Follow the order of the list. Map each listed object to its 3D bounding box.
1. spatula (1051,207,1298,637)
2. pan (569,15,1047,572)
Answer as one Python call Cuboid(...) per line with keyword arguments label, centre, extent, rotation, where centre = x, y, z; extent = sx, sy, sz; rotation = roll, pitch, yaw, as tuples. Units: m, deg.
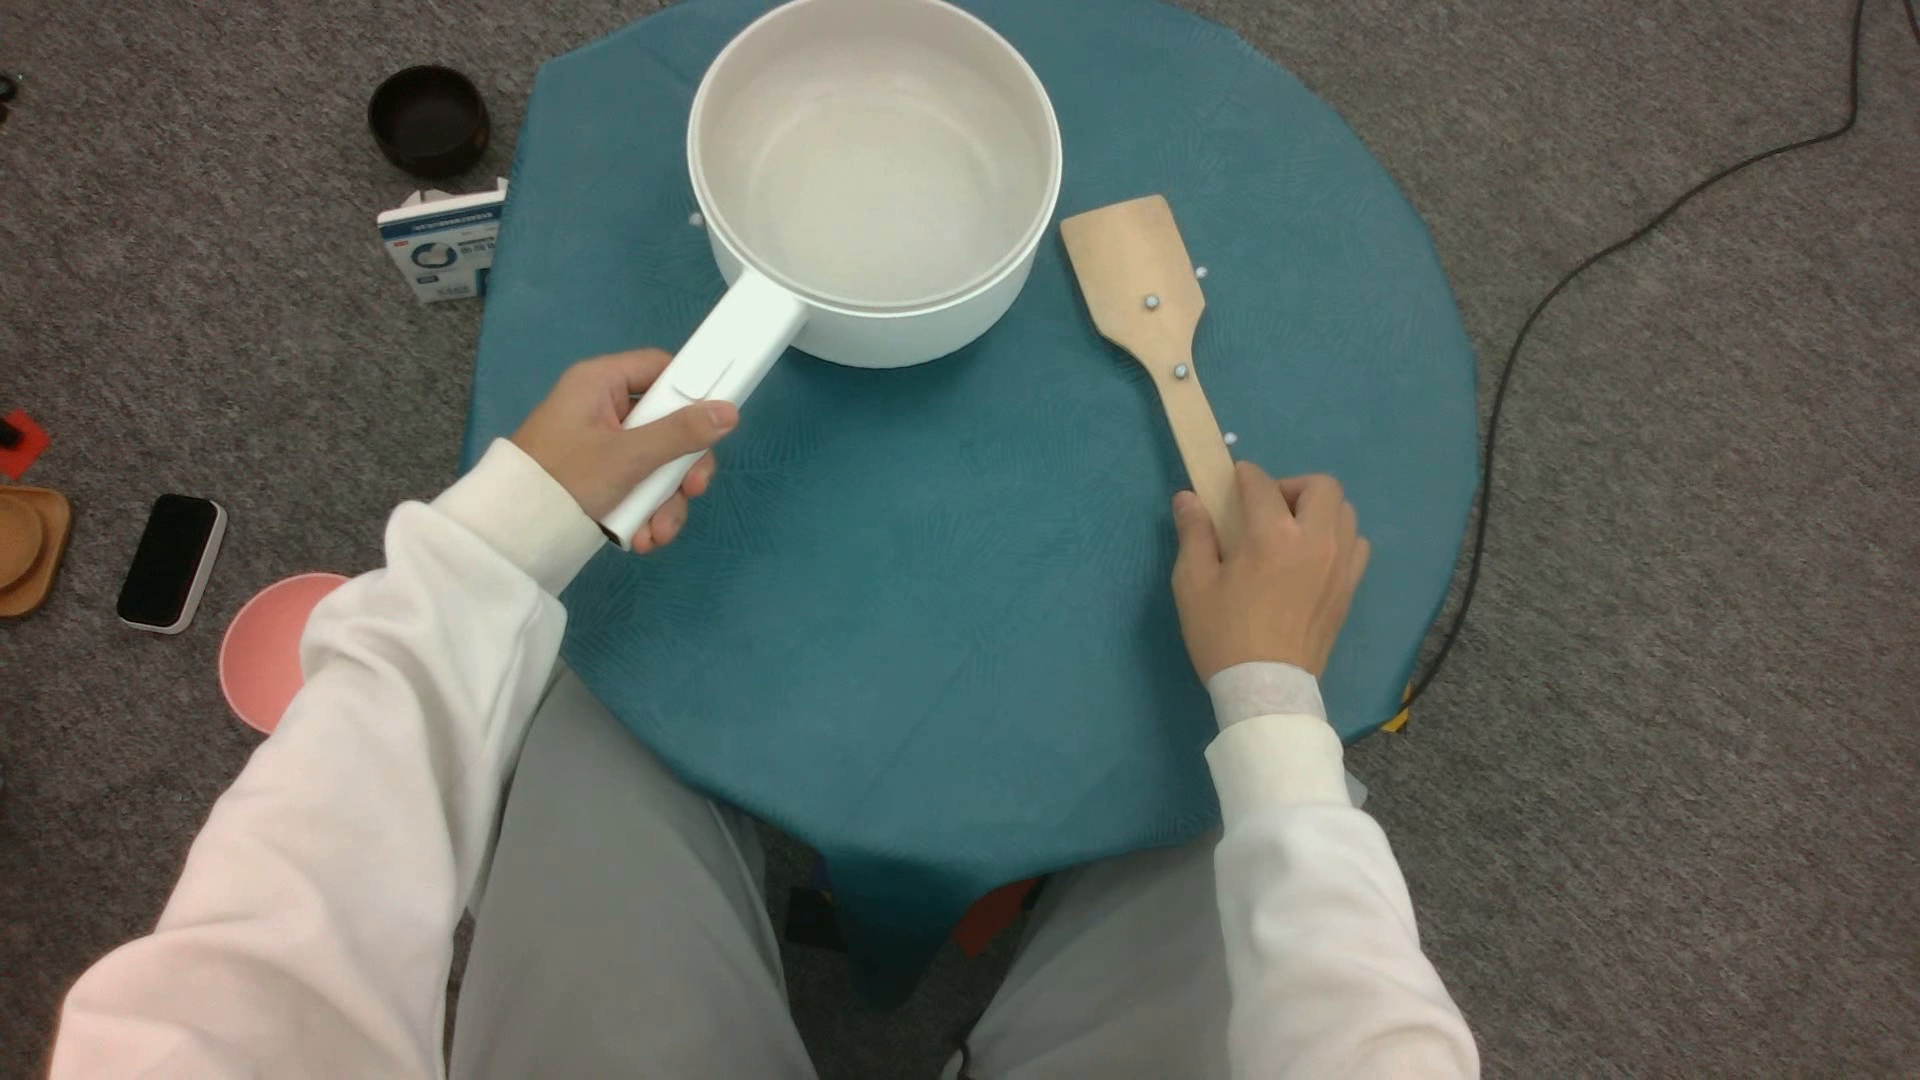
Cuboid(label="spatula", centre=(0.134, -0.075, 0.817), extent=(0.072, 0.010, 0.294), rotation=(-17, 67, -4))
Cuboid(label="pan", centre=(-0.093, -0.129, 0.779), extent=(0.201, 0.102, 0.356), rotation=(30, 73, 5))
